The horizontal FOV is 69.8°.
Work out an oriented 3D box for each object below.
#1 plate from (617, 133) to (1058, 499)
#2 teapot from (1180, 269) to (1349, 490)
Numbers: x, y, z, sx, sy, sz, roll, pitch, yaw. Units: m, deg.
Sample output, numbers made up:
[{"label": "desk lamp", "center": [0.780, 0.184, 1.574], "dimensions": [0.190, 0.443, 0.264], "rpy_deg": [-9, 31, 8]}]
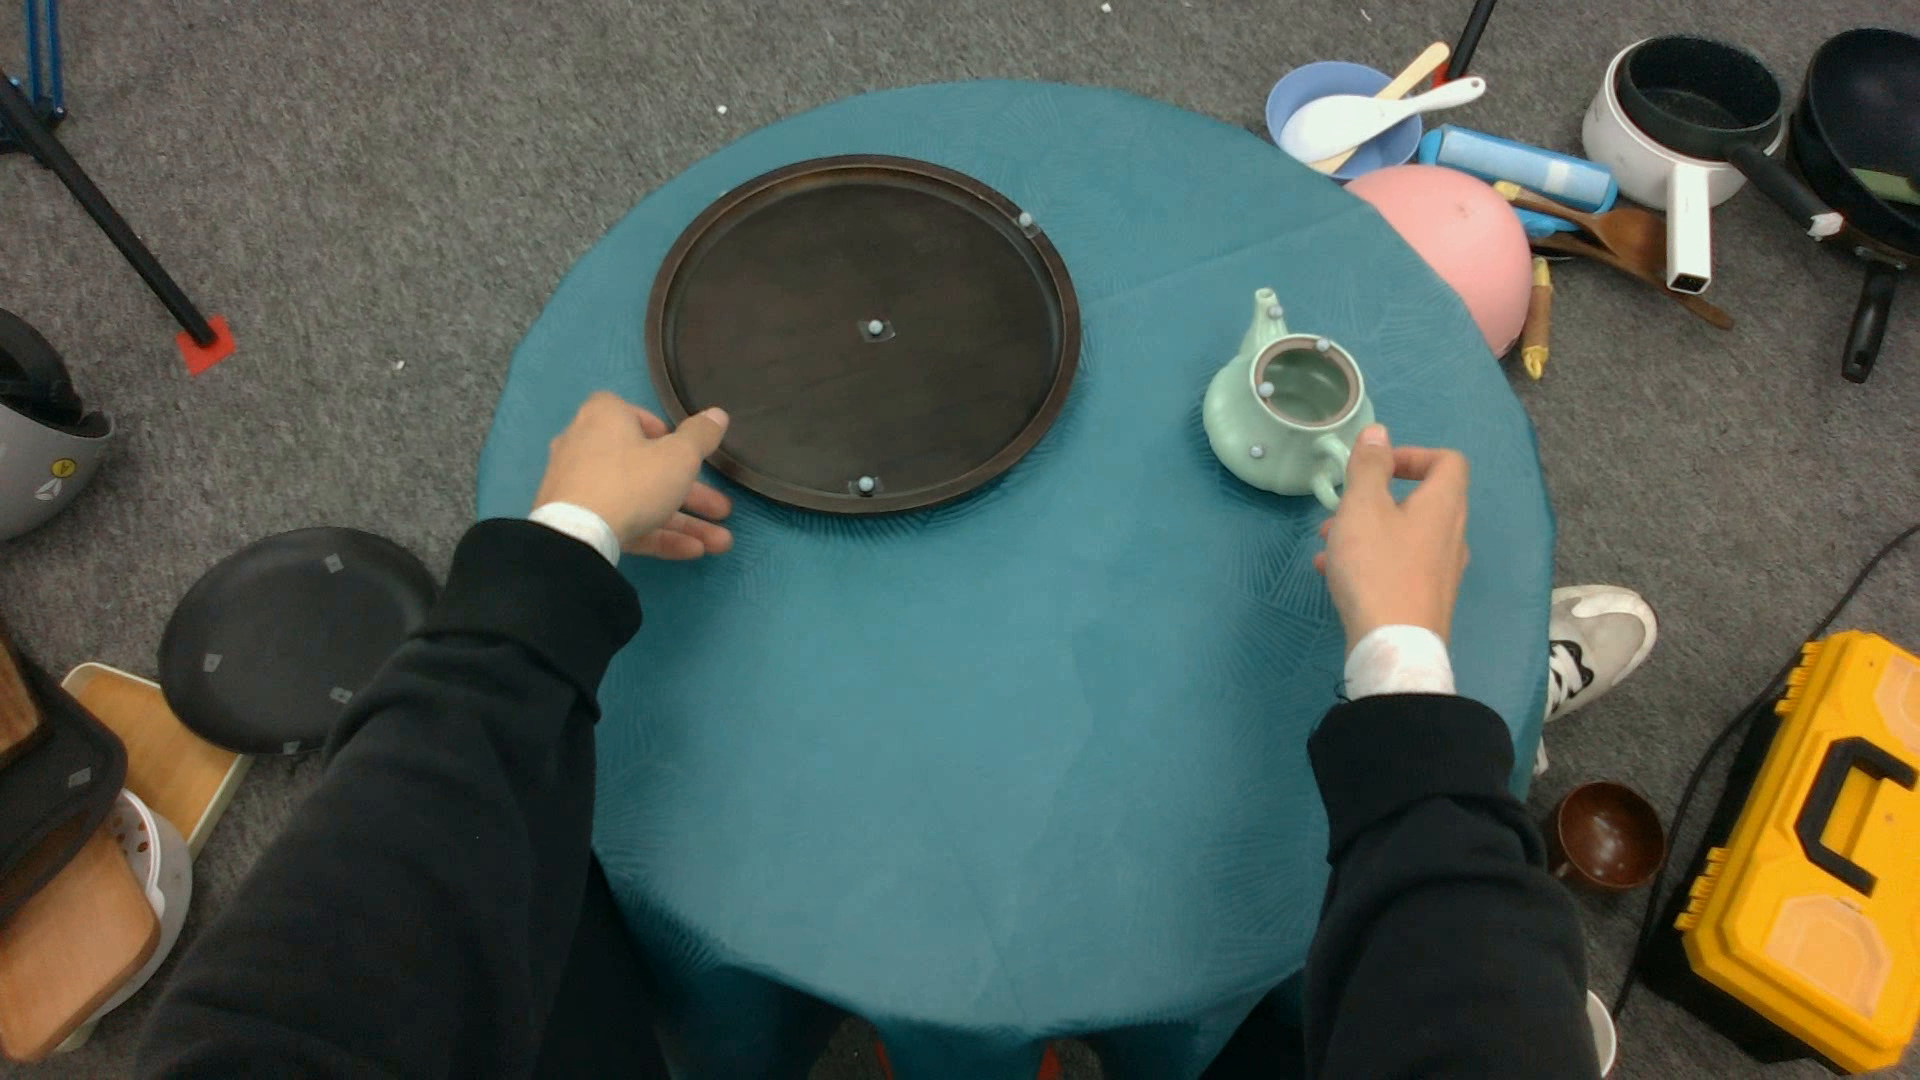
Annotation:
[{"label": "plate", "center": [-0.069, -0.134, 0.800], "dimensions": [0.255, 0.029, 0.256], "rpy_deg": [2, 62, -4]}, {"label": "teapot", "center": [0.175, -0.083, 0.769], "dimensions": [0.096, 0.061, 0.137], "rpy_deg": [-16, 65, -12]}]
